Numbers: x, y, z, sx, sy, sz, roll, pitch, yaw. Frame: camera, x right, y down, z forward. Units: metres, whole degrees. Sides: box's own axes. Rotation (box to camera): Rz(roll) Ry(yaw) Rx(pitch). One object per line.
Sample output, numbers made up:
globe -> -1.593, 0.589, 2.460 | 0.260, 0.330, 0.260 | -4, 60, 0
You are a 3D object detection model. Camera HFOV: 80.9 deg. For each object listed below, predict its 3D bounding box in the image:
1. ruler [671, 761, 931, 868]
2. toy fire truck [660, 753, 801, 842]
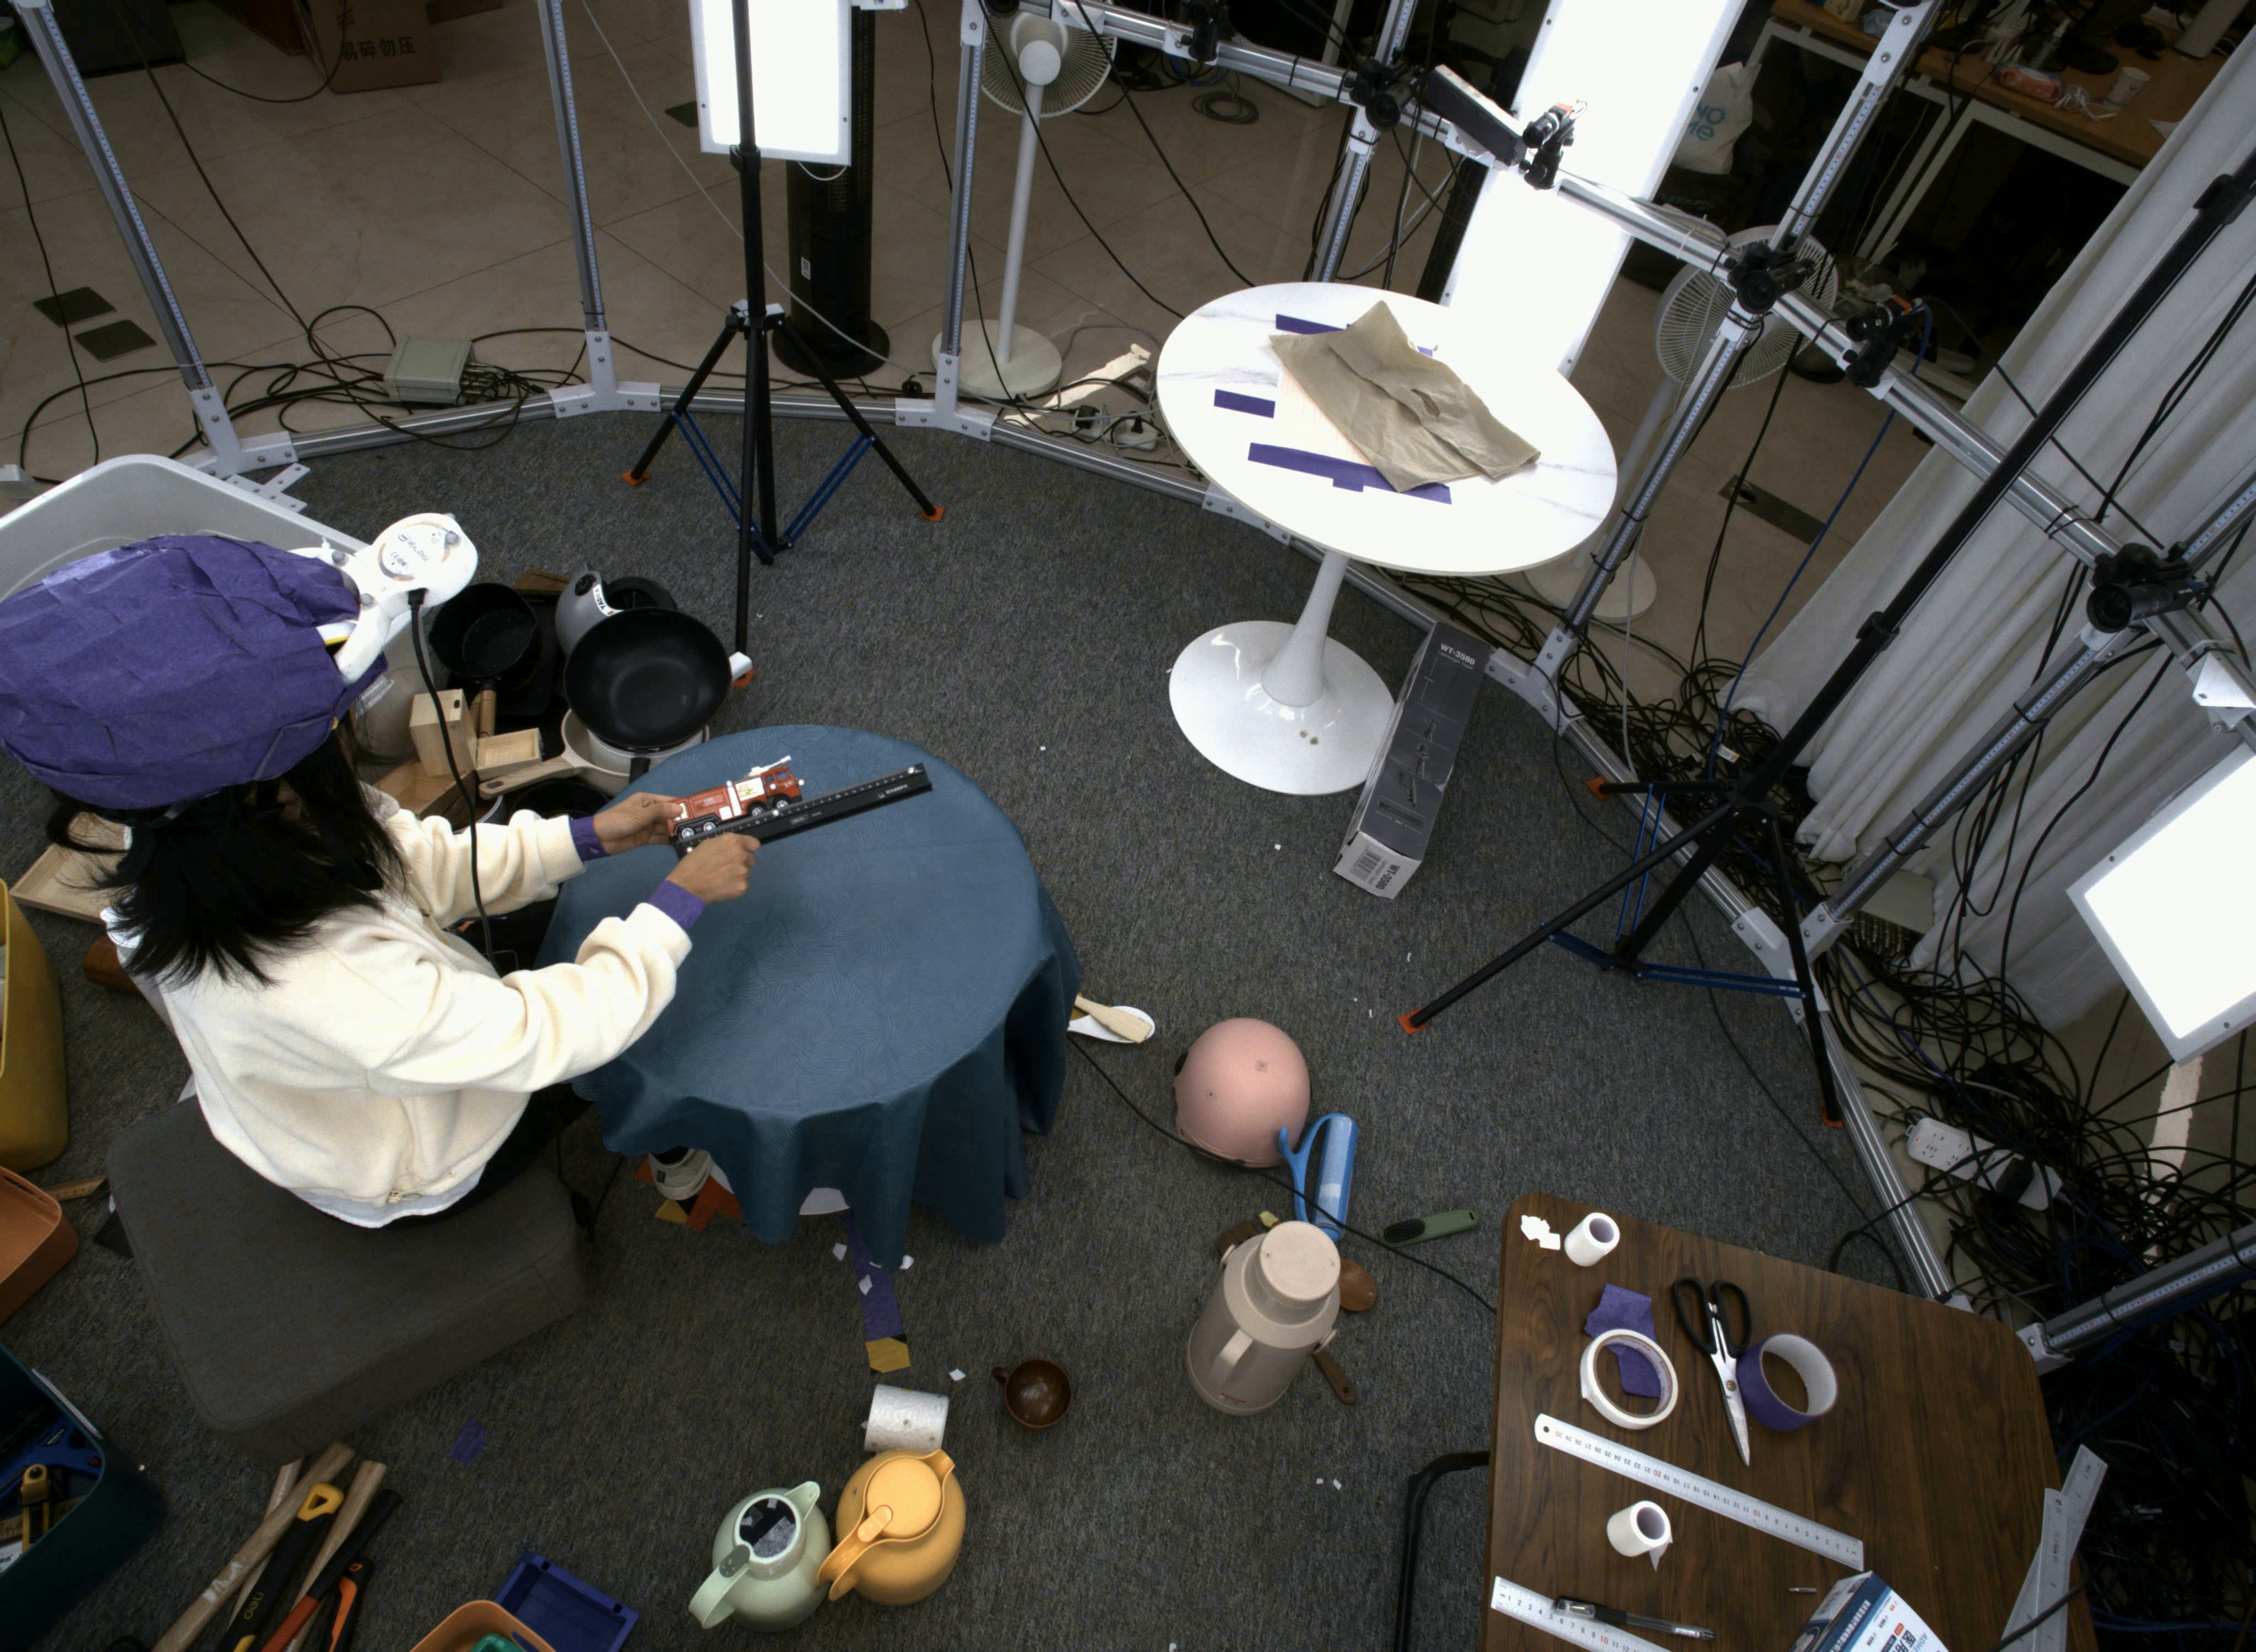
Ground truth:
ruler -> -0.387, -0.019, 1.543 | 0.312, 0.017, 0.039 | -18, 81, -16
toy fire truck -> -0.477, -0.029, 1.550 | 0.168, 0.053, 0.071 | -20, 93, -15
